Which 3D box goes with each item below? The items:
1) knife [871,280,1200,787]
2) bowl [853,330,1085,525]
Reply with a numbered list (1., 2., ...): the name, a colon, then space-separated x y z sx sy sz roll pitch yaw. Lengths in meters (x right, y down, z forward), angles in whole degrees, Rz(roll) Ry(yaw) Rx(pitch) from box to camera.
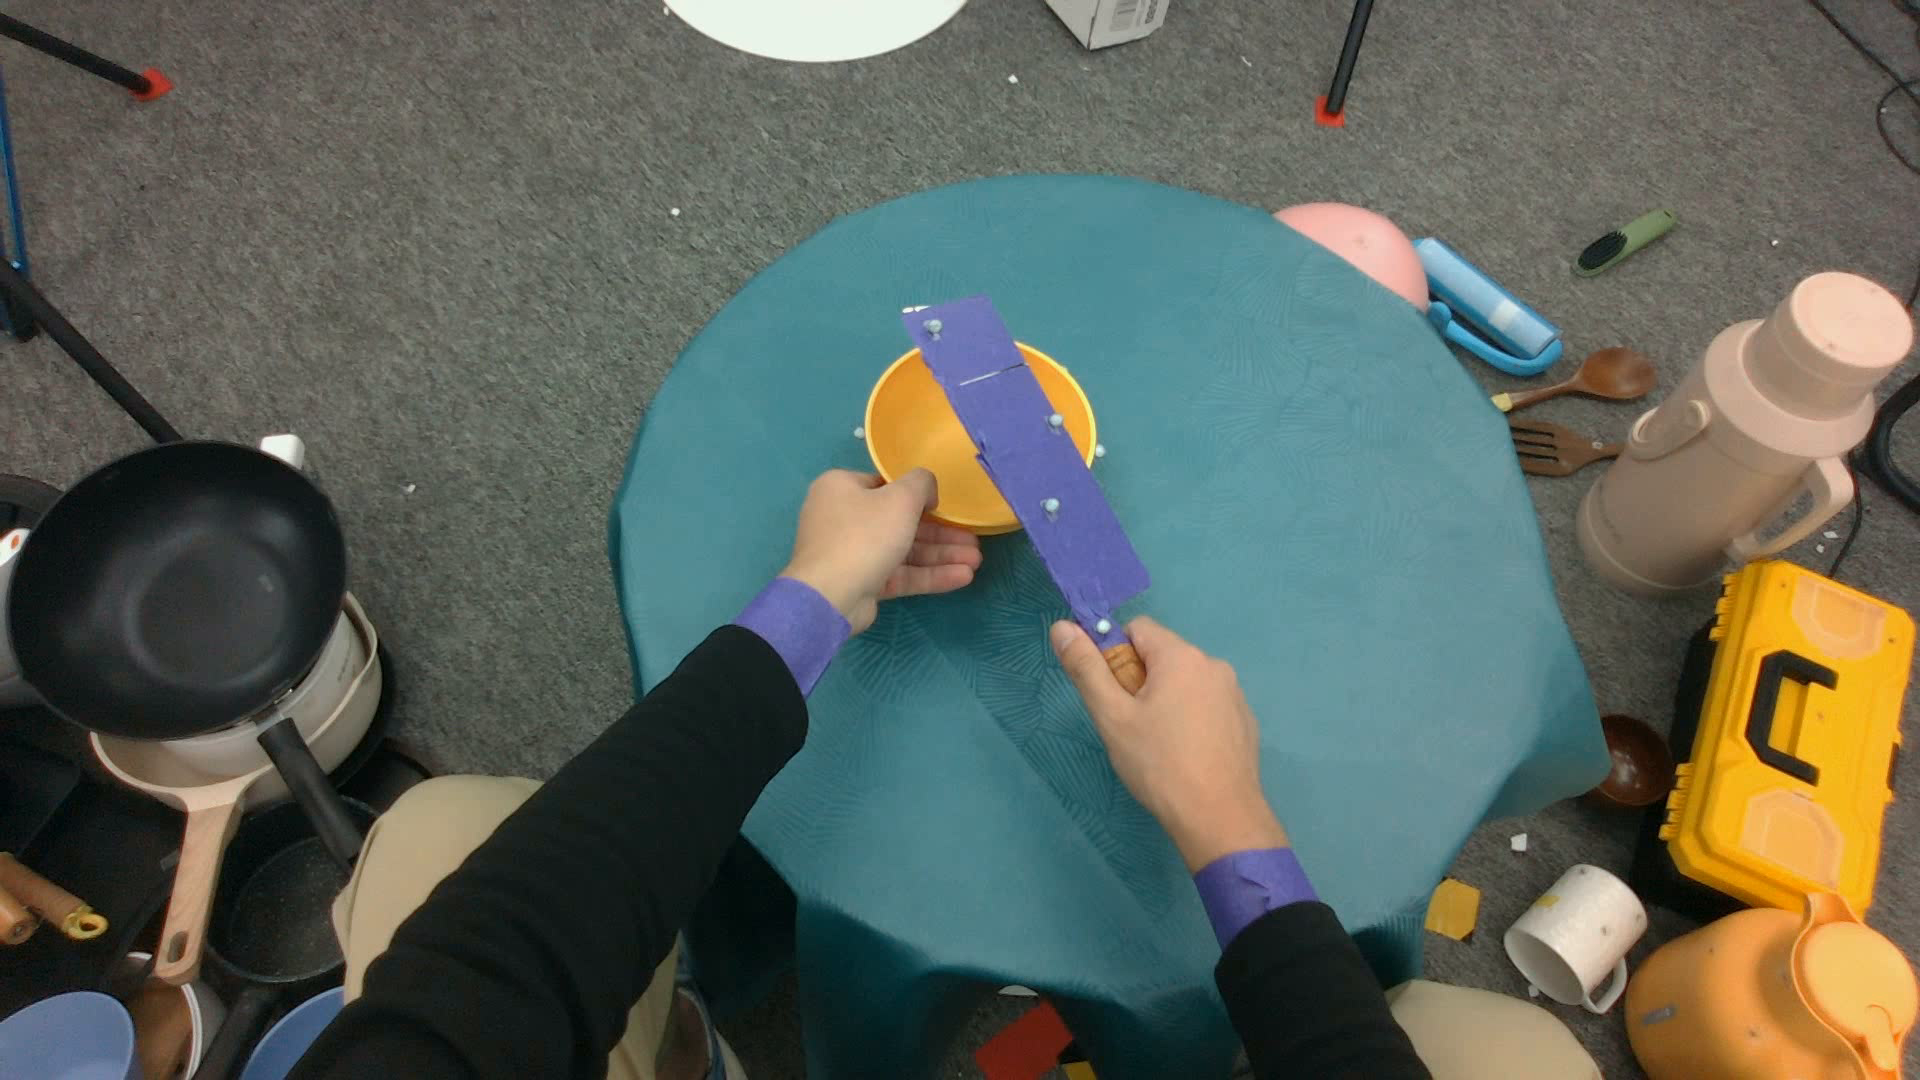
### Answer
1. knife: 0.058 -0.014 0.788 0.104 0.032 0.315 -27 86 -52
2. bowl: 0.004 -0.062 0.877 0.145 0.060 0.146 2 58 -3
